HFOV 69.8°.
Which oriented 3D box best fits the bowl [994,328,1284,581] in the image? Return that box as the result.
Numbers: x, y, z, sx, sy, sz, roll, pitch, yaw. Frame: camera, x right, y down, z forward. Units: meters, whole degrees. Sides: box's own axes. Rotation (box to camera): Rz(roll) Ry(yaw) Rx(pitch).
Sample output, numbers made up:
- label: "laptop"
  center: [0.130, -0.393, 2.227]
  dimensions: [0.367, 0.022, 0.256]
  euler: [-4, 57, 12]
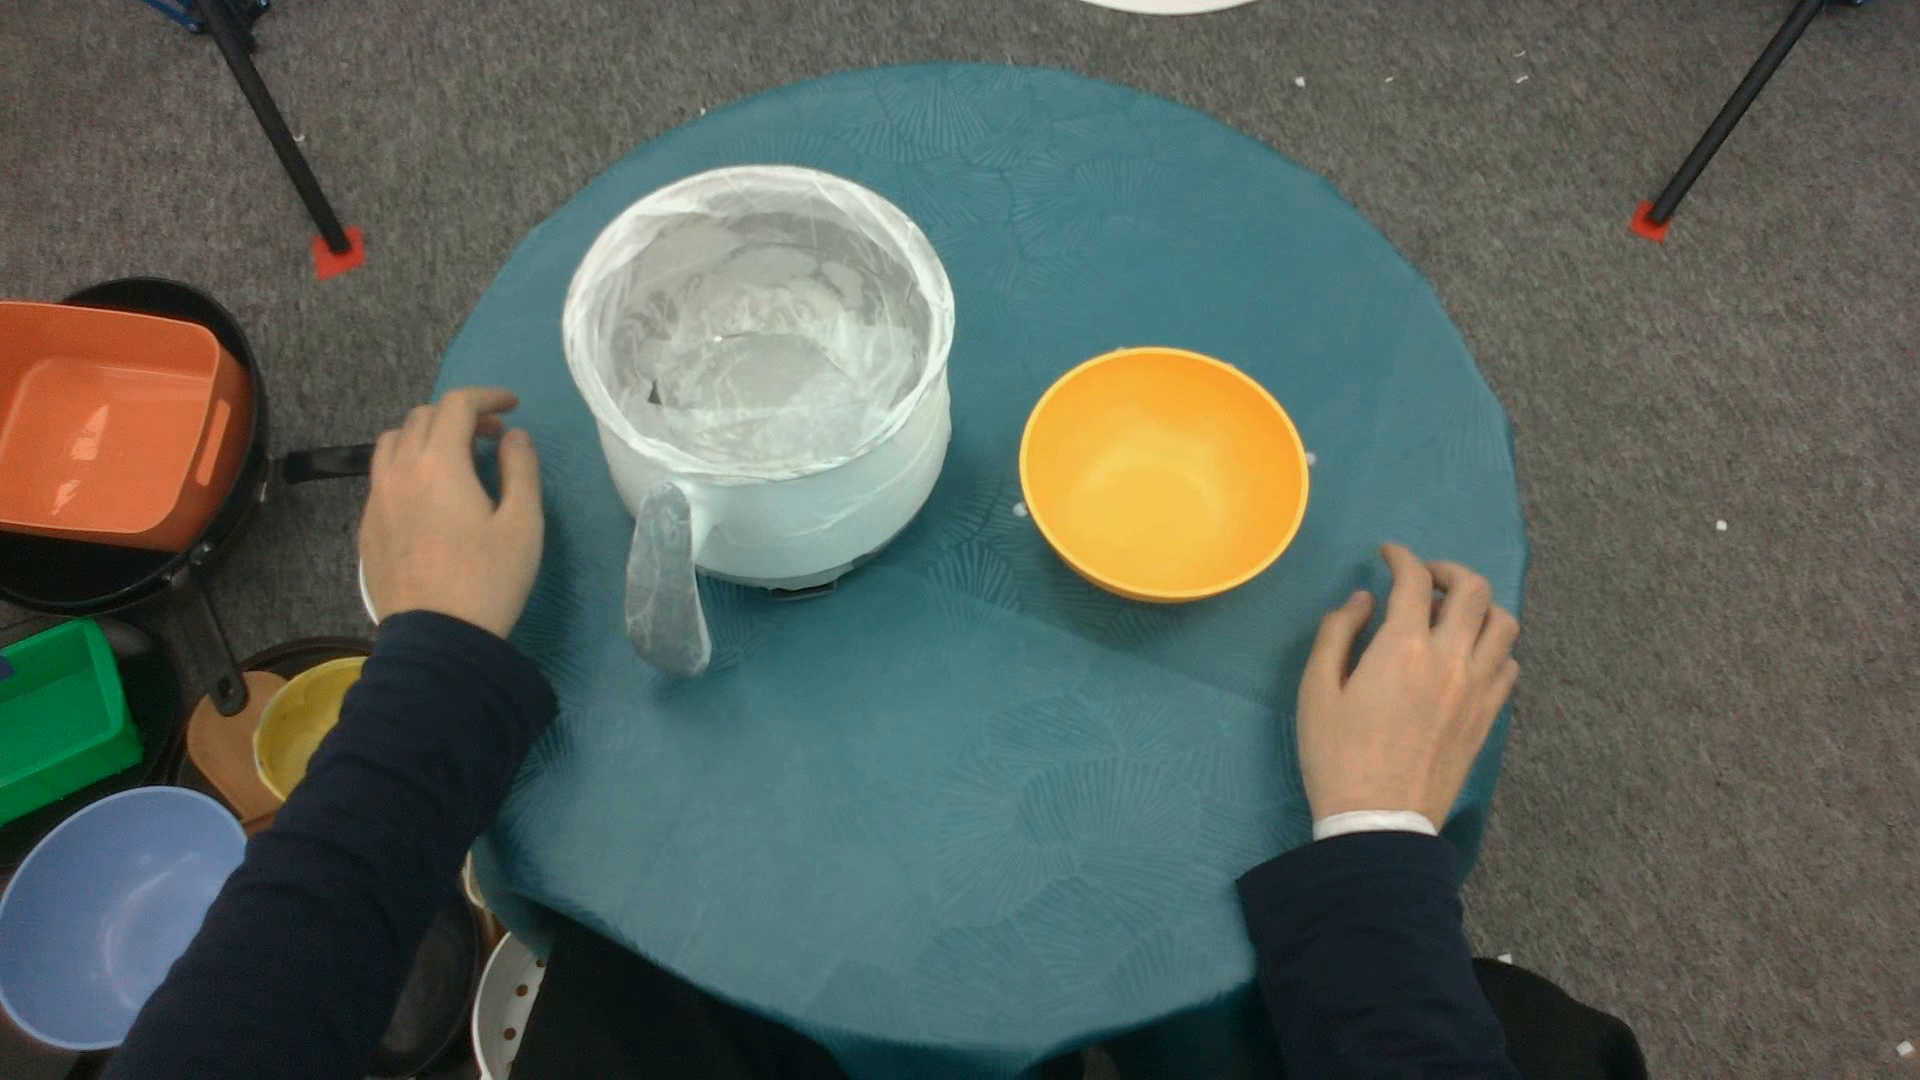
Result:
- label: "bowl"
  center: [0.089, -0.035, 0.711]
  dimensions: [0.145, 0.060, 0.146]
  euler: [1, 63, -2]

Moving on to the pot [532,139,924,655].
- label: "pot"
  center: [-0.115, -0.064, 0.670]
  dimensions: [0.178, 0.136, 0.234]
  euler: [15, 63, 7]
